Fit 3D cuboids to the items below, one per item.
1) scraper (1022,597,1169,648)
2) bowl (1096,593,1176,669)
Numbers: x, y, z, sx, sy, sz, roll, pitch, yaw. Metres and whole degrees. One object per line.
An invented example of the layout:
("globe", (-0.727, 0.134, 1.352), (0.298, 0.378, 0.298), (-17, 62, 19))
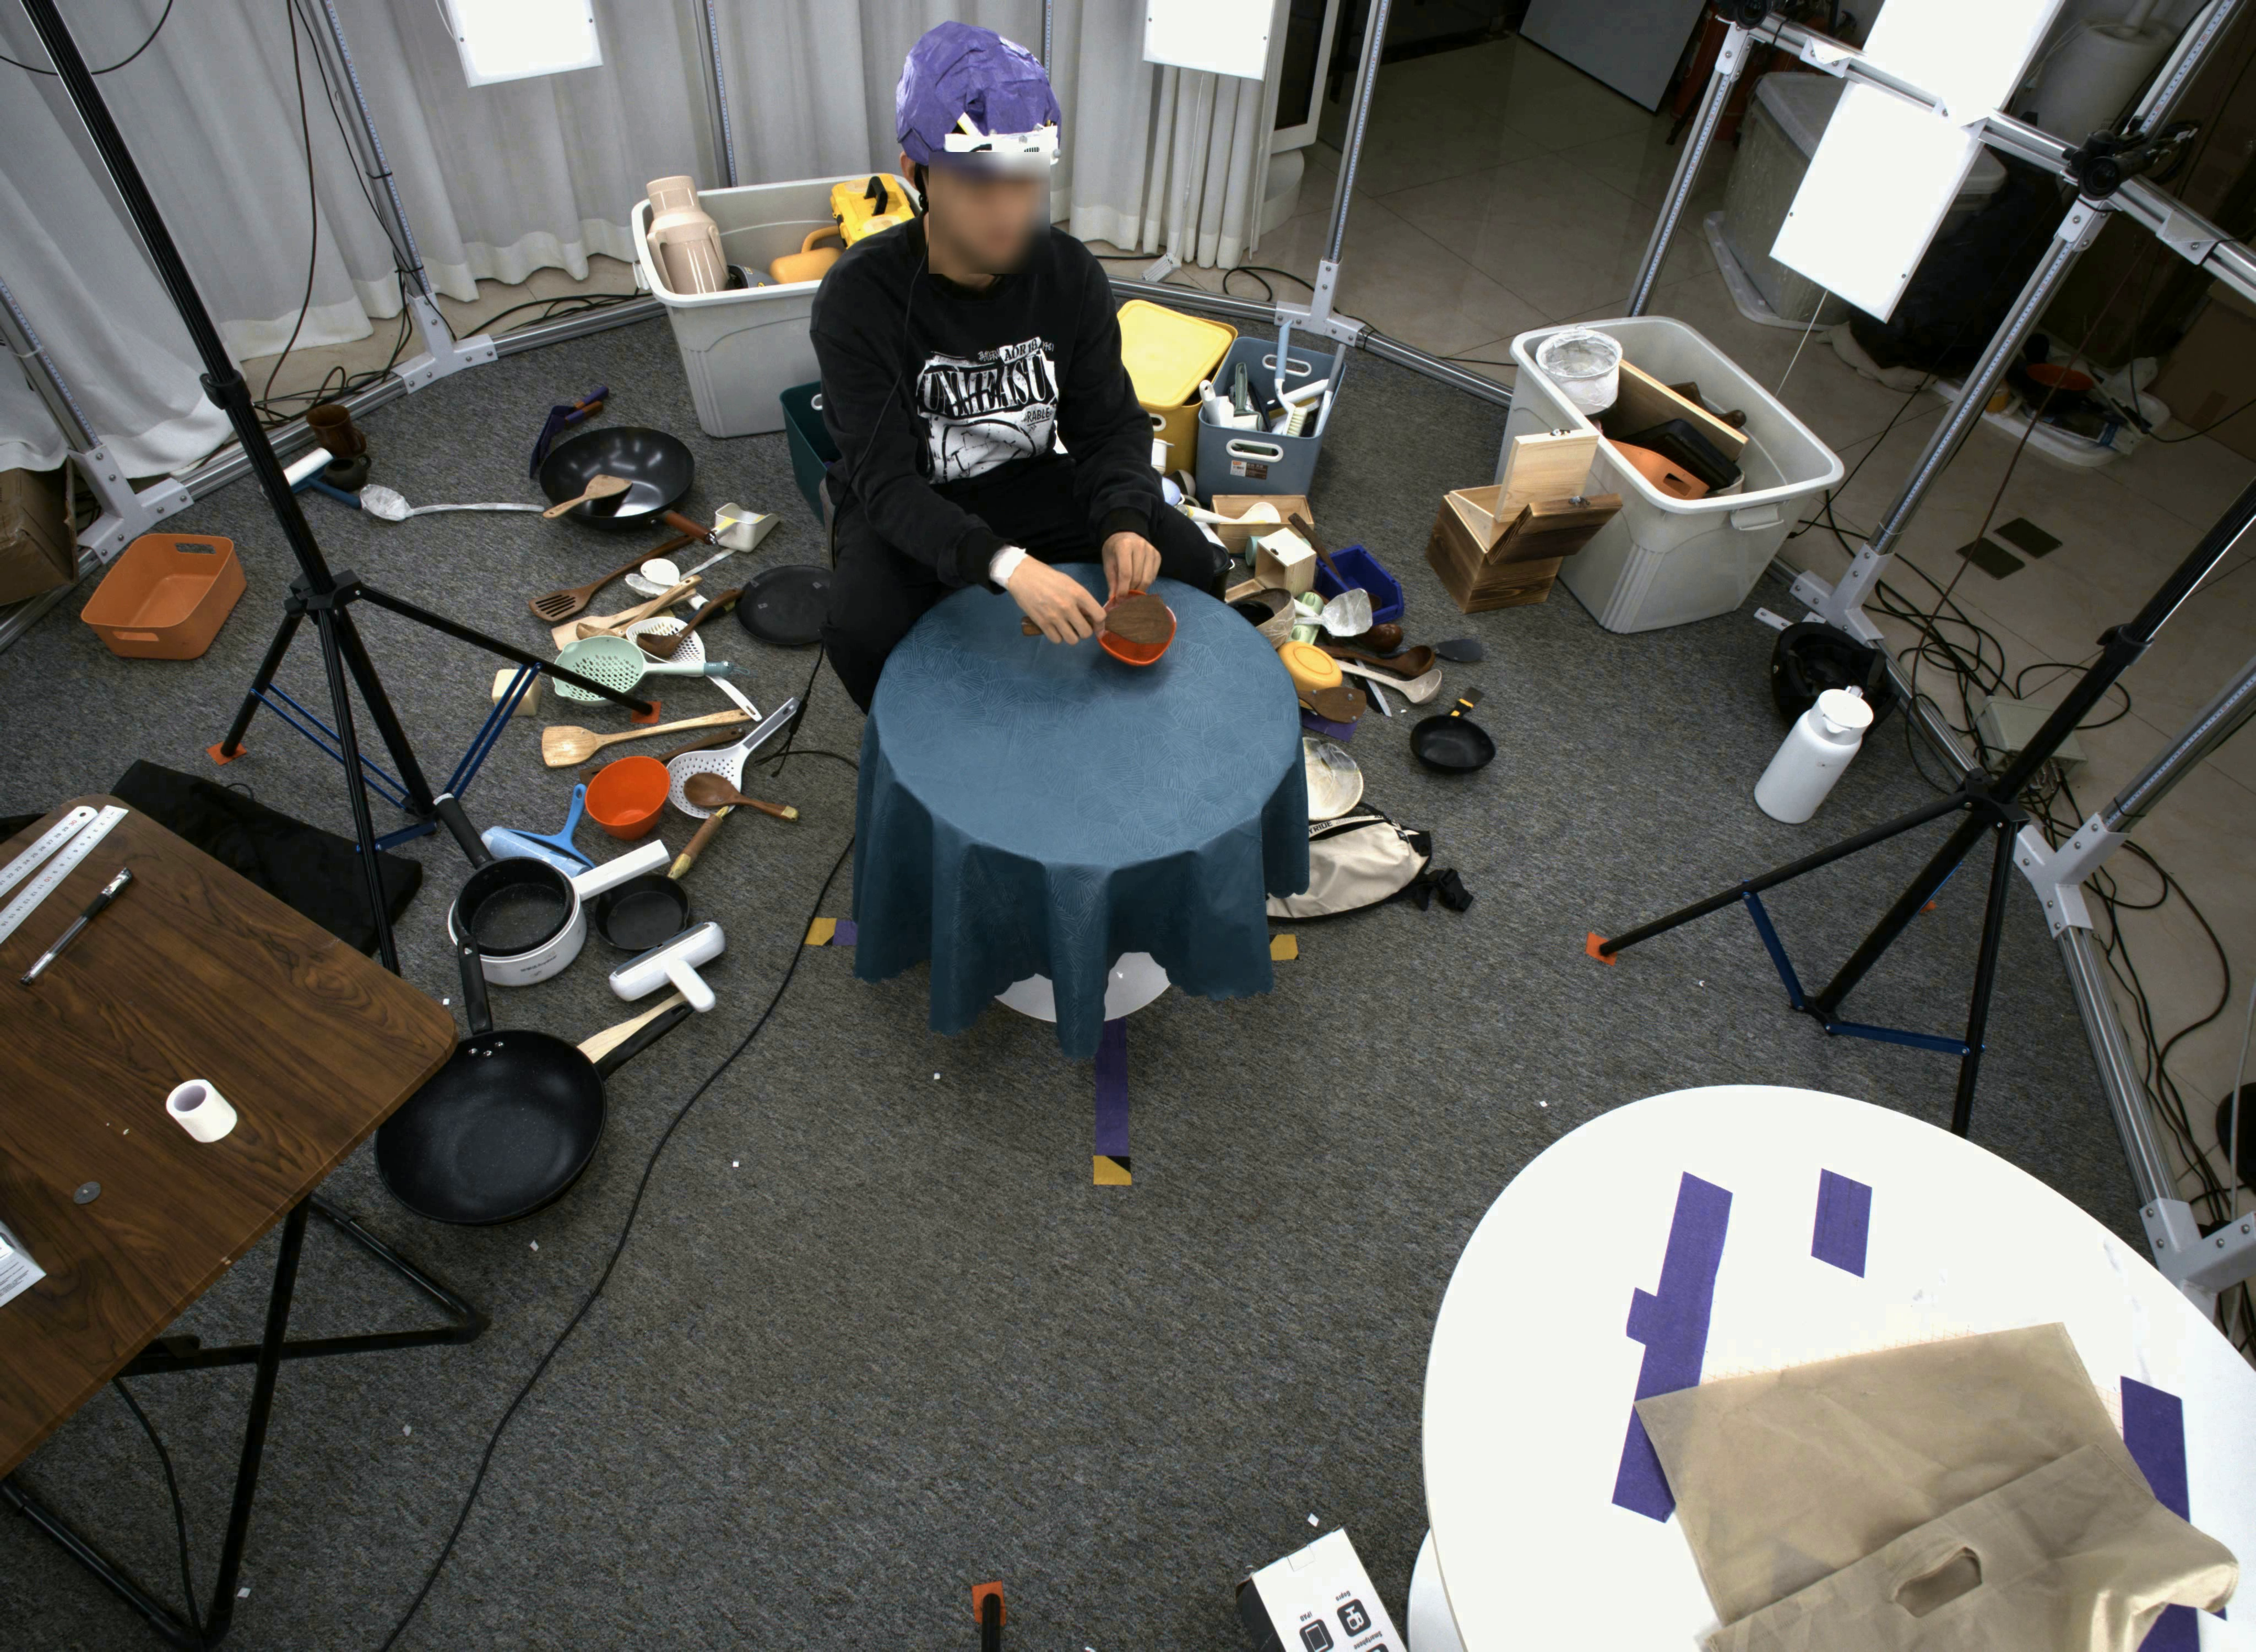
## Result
("scraper", (-0.045, -0.287, 1.832), (0.211, 0.011, 0.076), (-4, 81, -12))
("bowl", (0.010, -0.278, 1.882), (0.119, 0.050, 0.121), (2, 70, -5))
